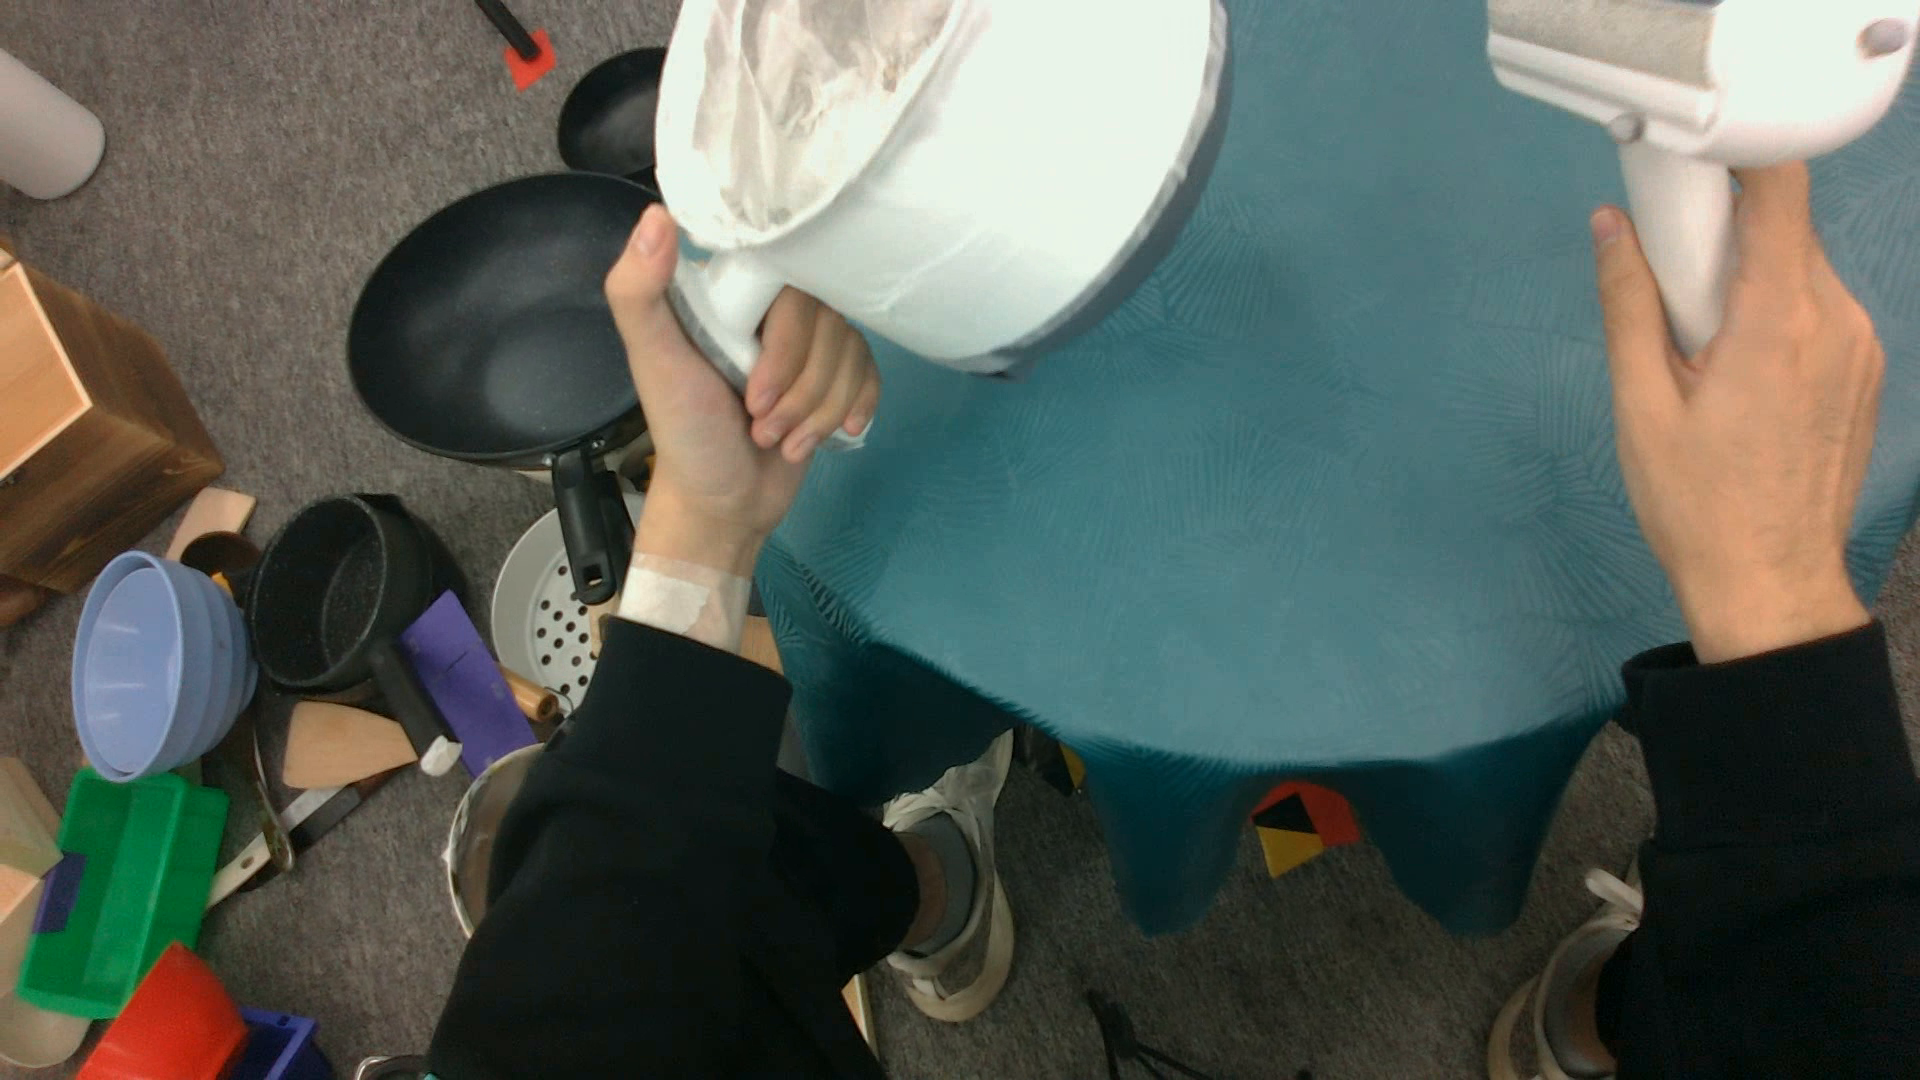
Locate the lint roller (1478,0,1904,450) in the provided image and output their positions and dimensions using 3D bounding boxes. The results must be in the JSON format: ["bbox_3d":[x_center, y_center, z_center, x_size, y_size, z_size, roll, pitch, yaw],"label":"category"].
[{"bbox_3d":[0.225,-0.111,0.439,0.074,0.192,0.193,-13,29,4],"label":"lint roller"}]

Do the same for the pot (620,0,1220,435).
[{"bbox_3d":[-0.025,-0.143,0.496,0.233,0.136,0.179,-51,44,18],"label":"pot"}]
